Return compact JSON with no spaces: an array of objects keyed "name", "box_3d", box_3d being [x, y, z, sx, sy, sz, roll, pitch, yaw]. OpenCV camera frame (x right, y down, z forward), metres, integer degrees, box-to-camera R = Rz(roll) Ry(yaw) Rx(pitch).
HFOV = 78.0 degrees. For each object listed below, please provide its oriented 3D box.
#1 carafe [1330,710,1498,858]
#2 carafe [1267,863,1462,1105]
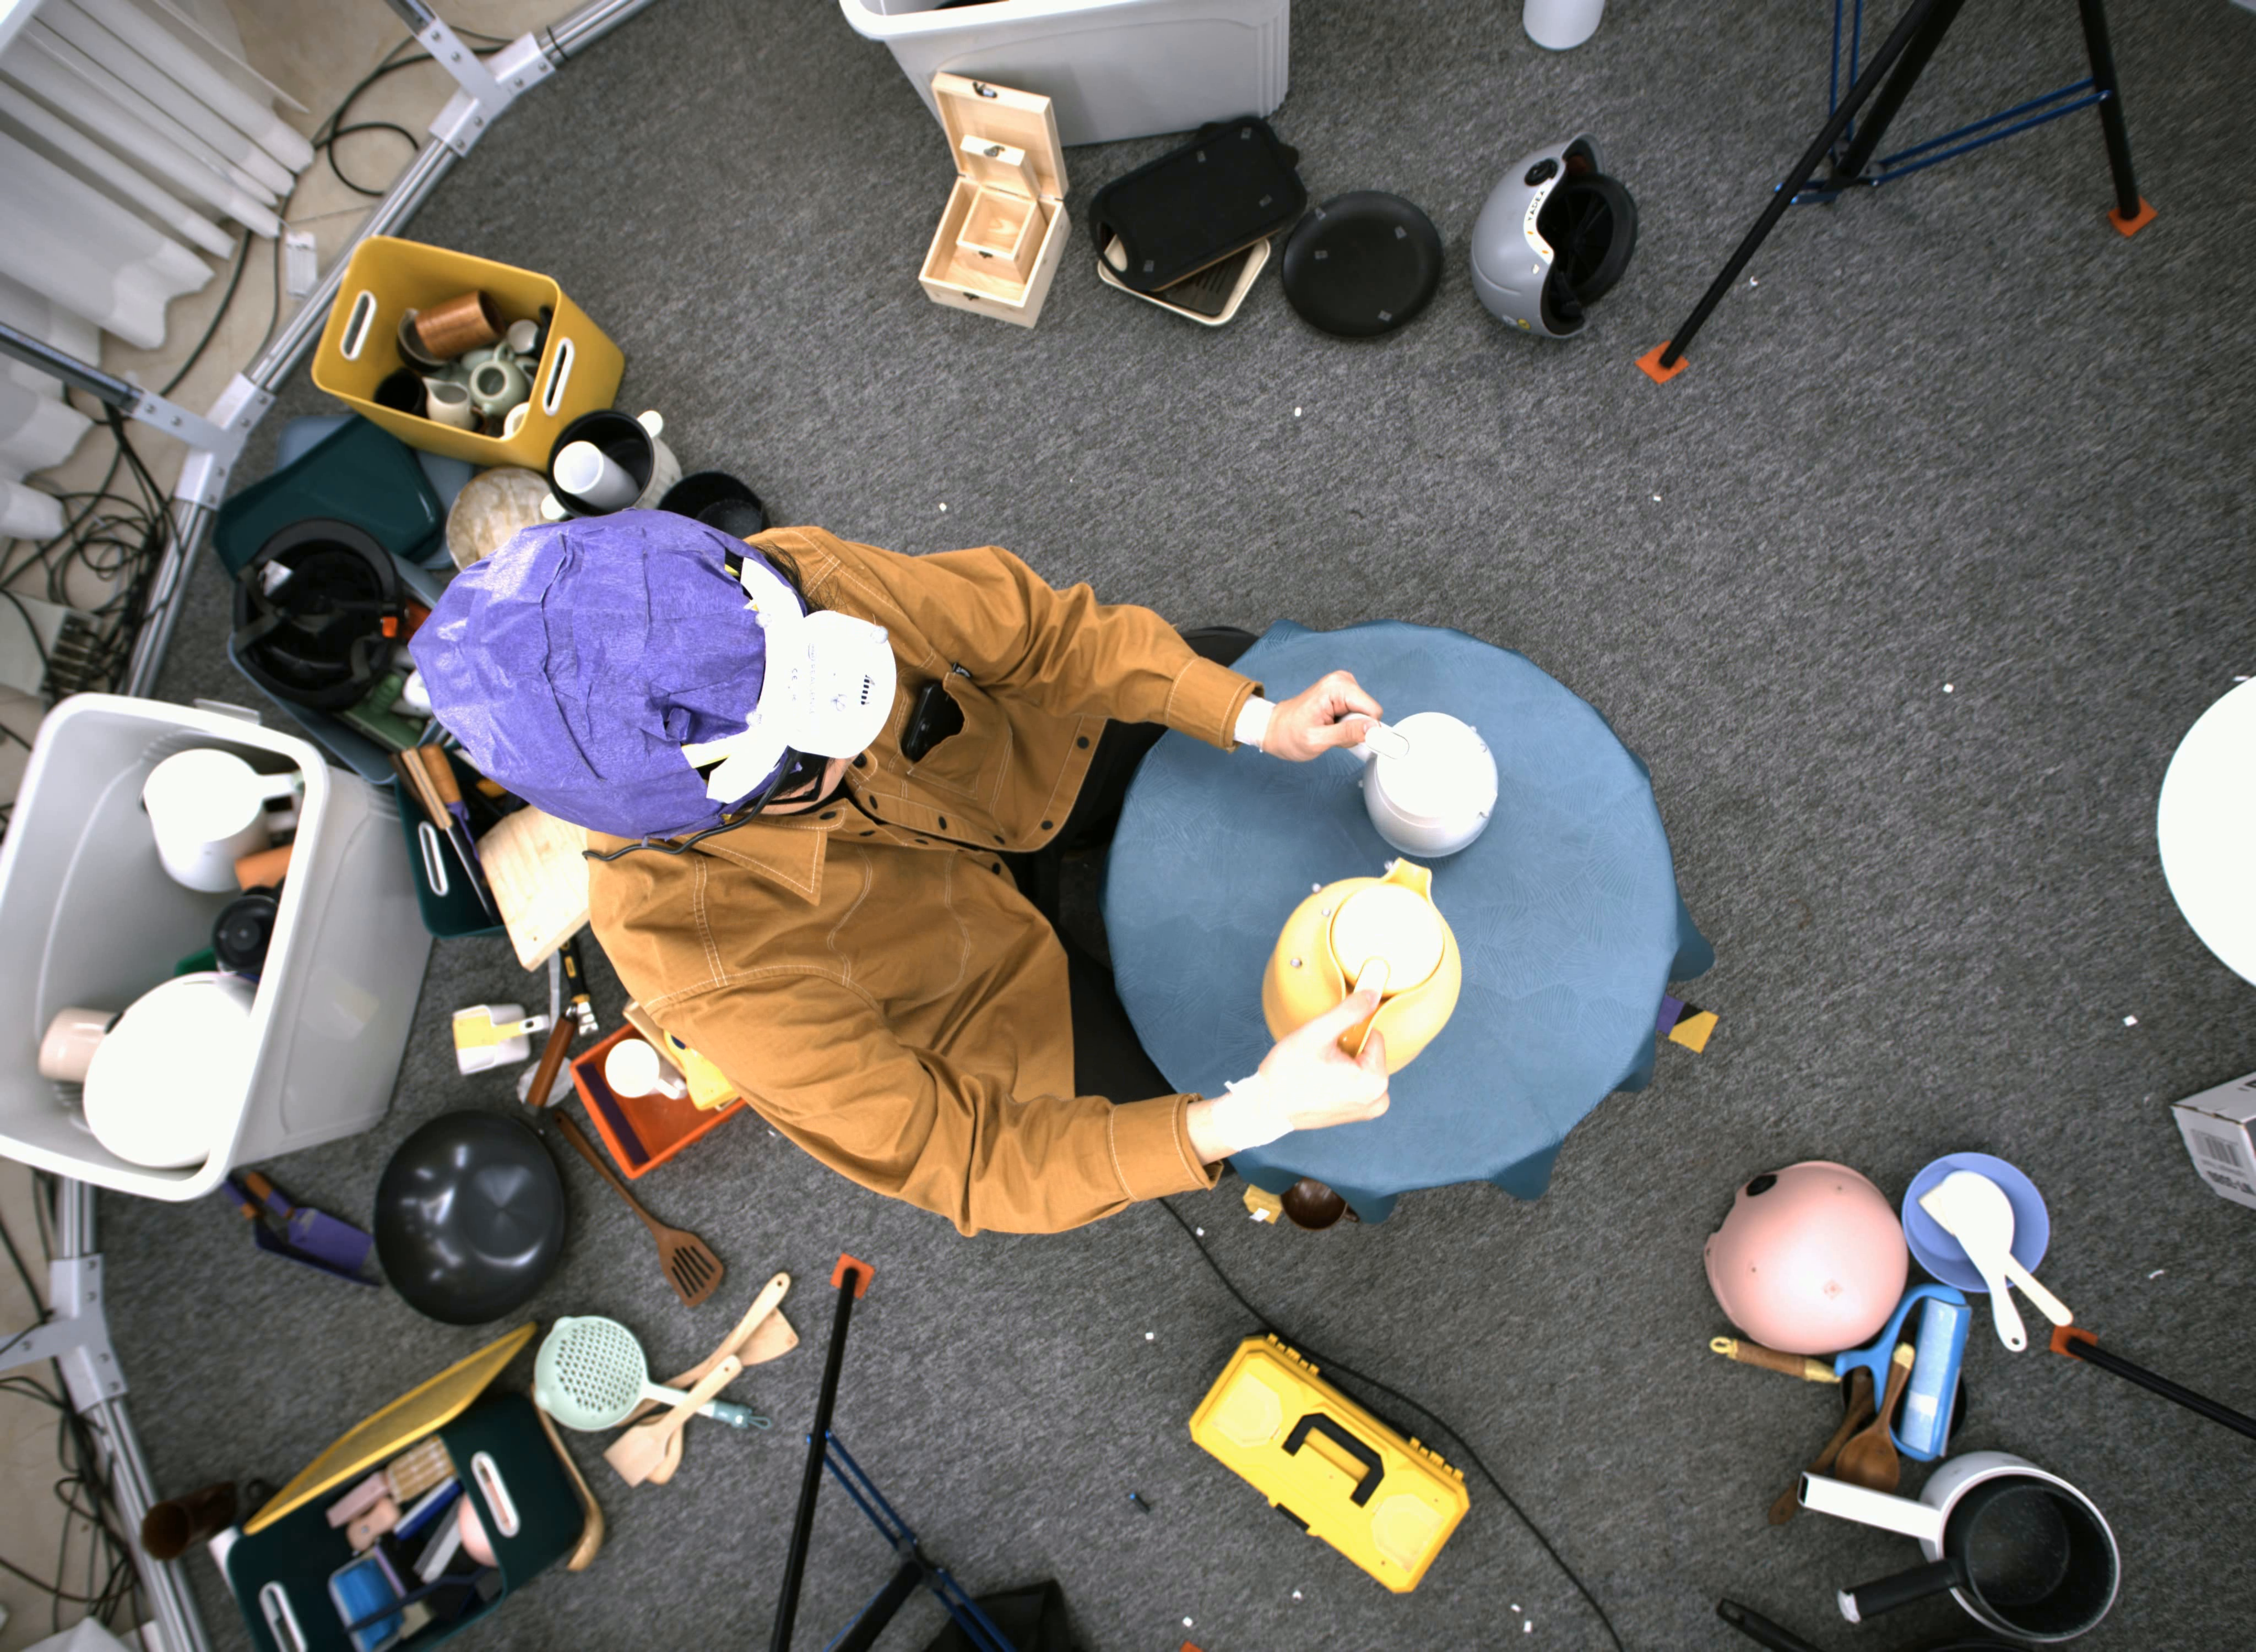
[{"name":"carafe","box_3d":[0.270,-0.054,1.312,0.167,0.248,0.133,32,93,13]},{"name":"carafe","box_3d":[0.199,0.147,1.209,0.163,0.264,0.199,24,74,11]}]
